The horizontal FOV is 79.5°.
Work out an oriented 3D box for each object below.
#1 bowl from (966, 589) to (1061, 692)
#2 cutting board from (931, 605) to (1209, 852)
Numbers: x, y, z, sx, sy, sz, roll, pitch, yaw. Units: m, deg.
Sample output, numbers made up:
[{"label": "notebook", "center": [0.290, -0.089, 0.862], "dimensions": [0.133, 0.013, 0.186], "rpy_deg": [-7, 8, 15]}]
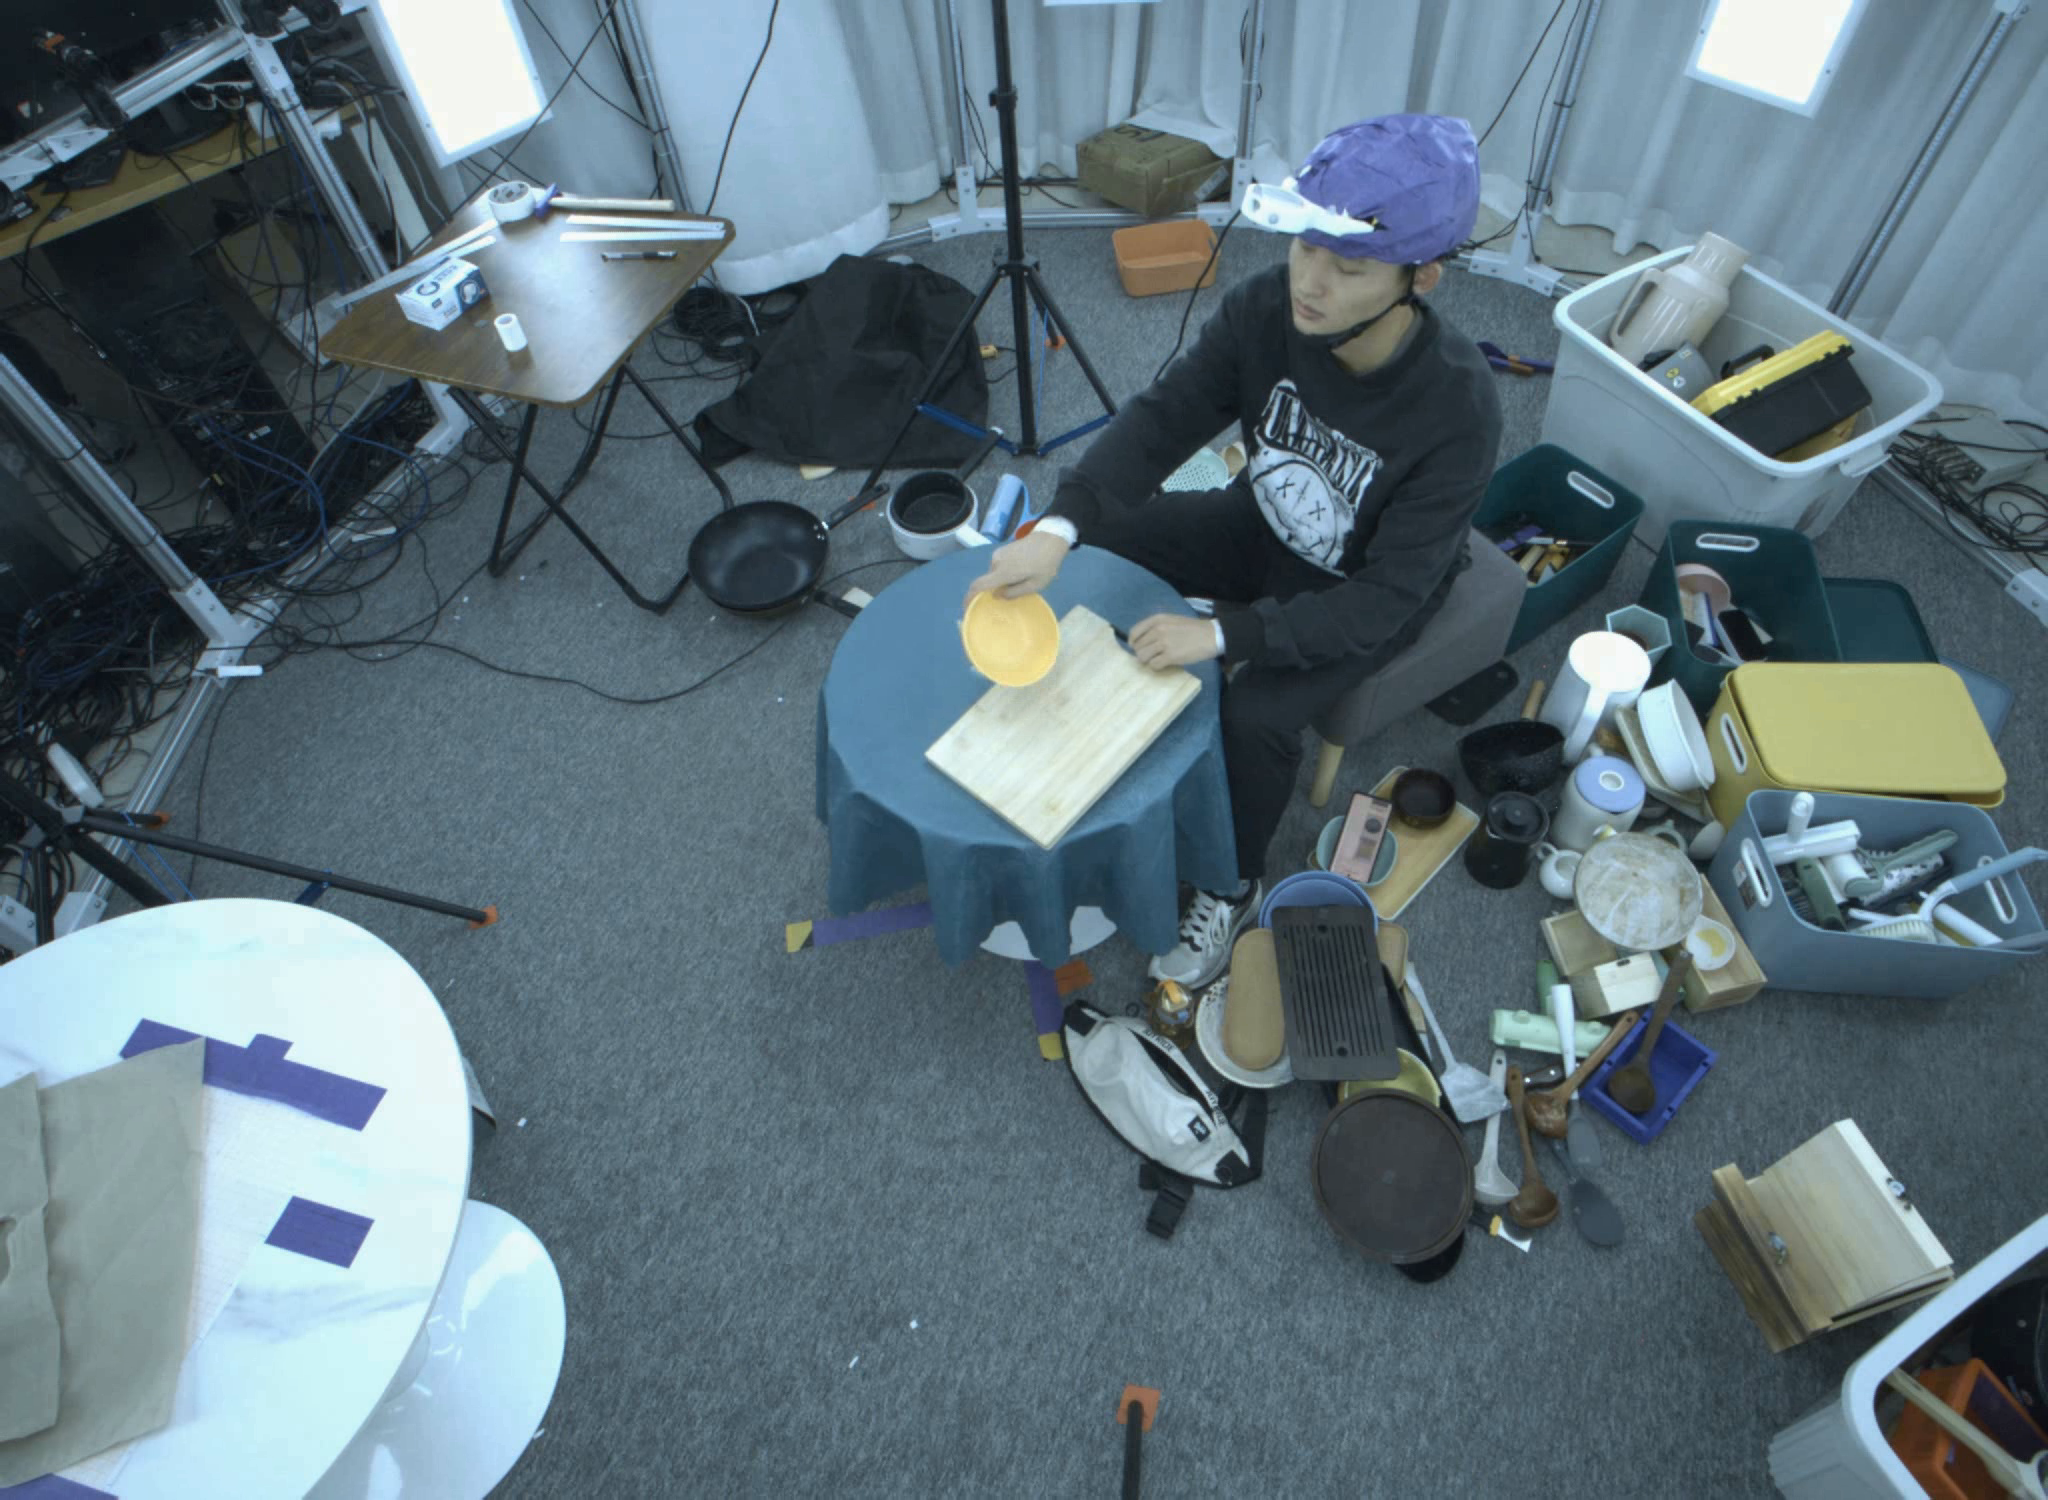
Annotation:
[{"label": "bowl", "center": [-0.025, -0.151, 1.725], "dimensions": [0.148, 0.059, 0.145], "rpy_deg": [1, 88, -29]}, {"label": "cutting board", "center": [0.065, -0.041, 1.789], "dimensions": [0.246, 0.024, 0.350], "rpy_deg": [35, 70, 23]}]
